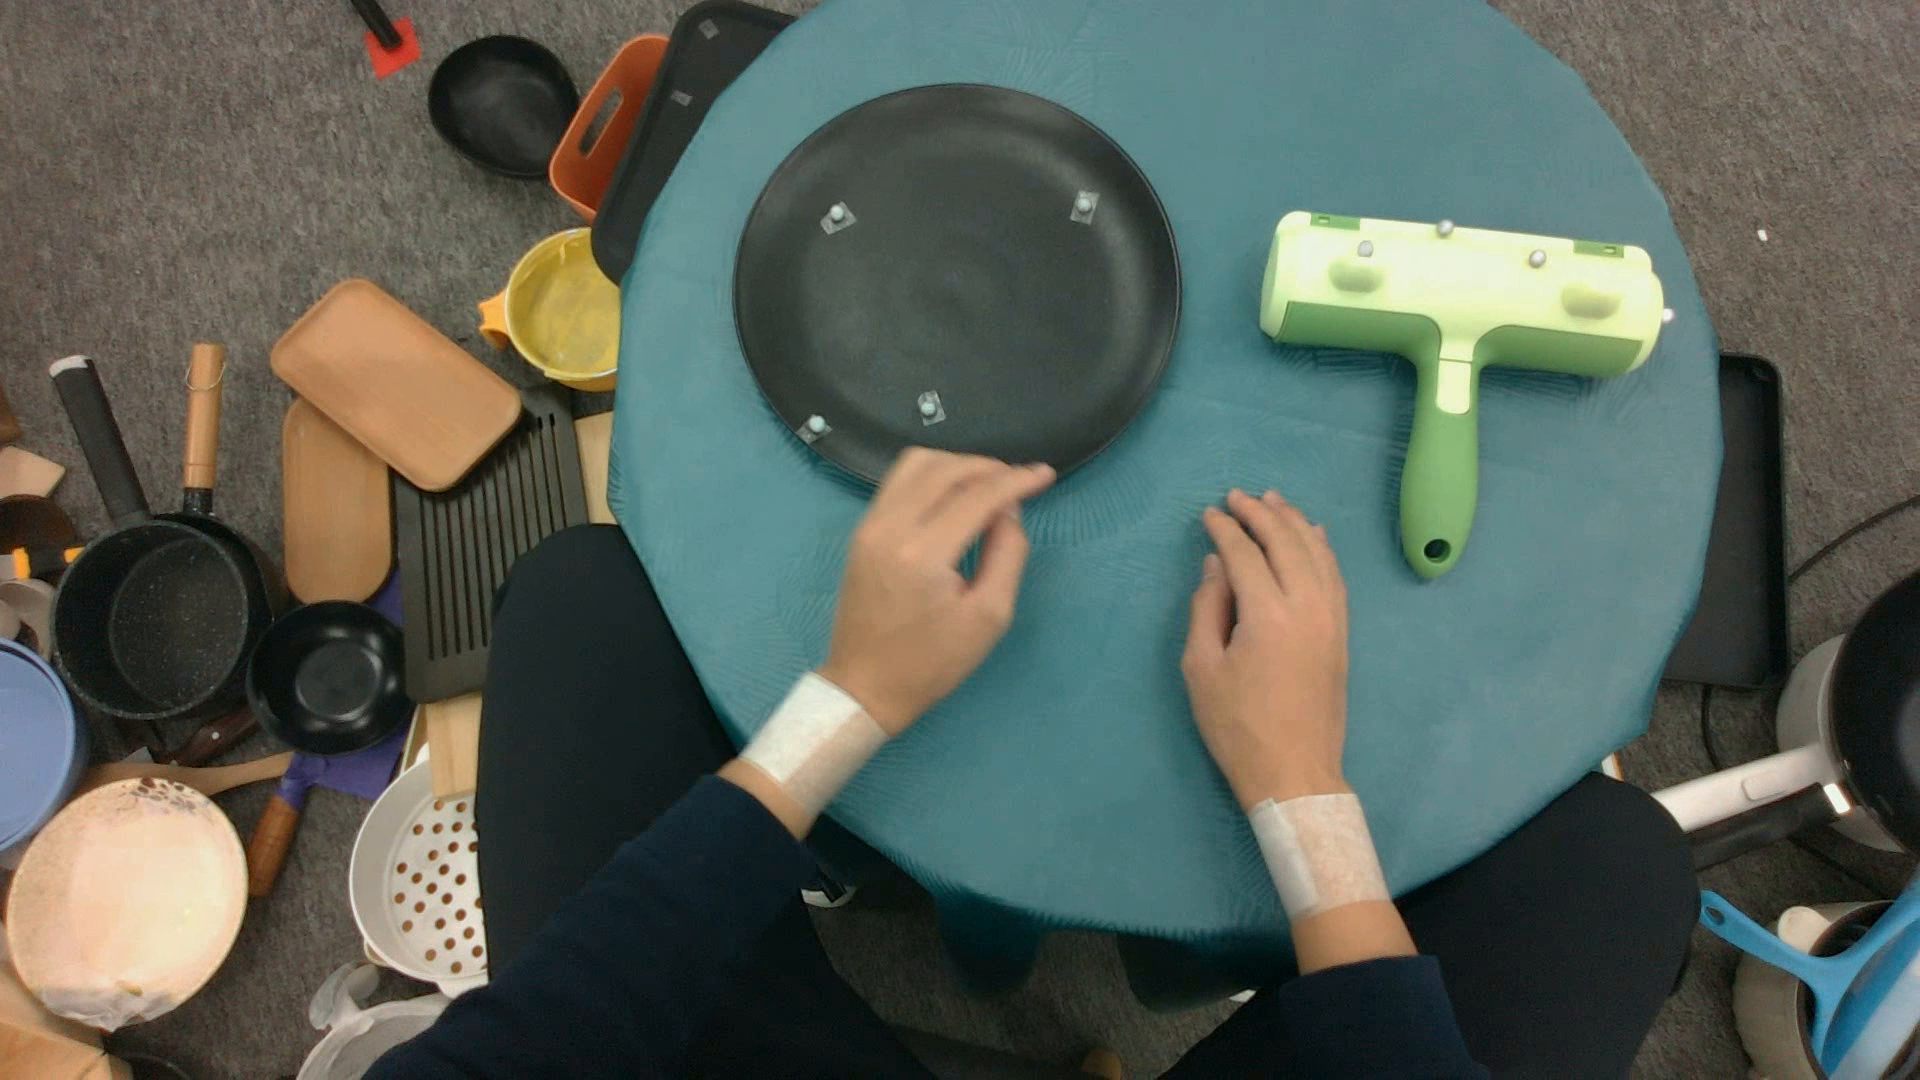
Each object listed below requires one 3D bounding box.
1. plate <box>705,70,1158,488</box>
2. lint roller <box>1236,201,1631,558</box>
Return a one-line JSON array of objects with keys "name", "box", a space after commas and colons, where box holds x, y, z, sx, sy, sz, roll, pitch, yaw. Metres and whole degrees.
[{"name": "plate", "box": [-0.016, -0.143, 0.749, 0.244, 0.023, 0.245, 0, 76, 0]}, {"name": "lint roller", "box": [0.242, -0.087, 0.703, 0.198, 0.082, 0.184, 5, 70, 3]}]
